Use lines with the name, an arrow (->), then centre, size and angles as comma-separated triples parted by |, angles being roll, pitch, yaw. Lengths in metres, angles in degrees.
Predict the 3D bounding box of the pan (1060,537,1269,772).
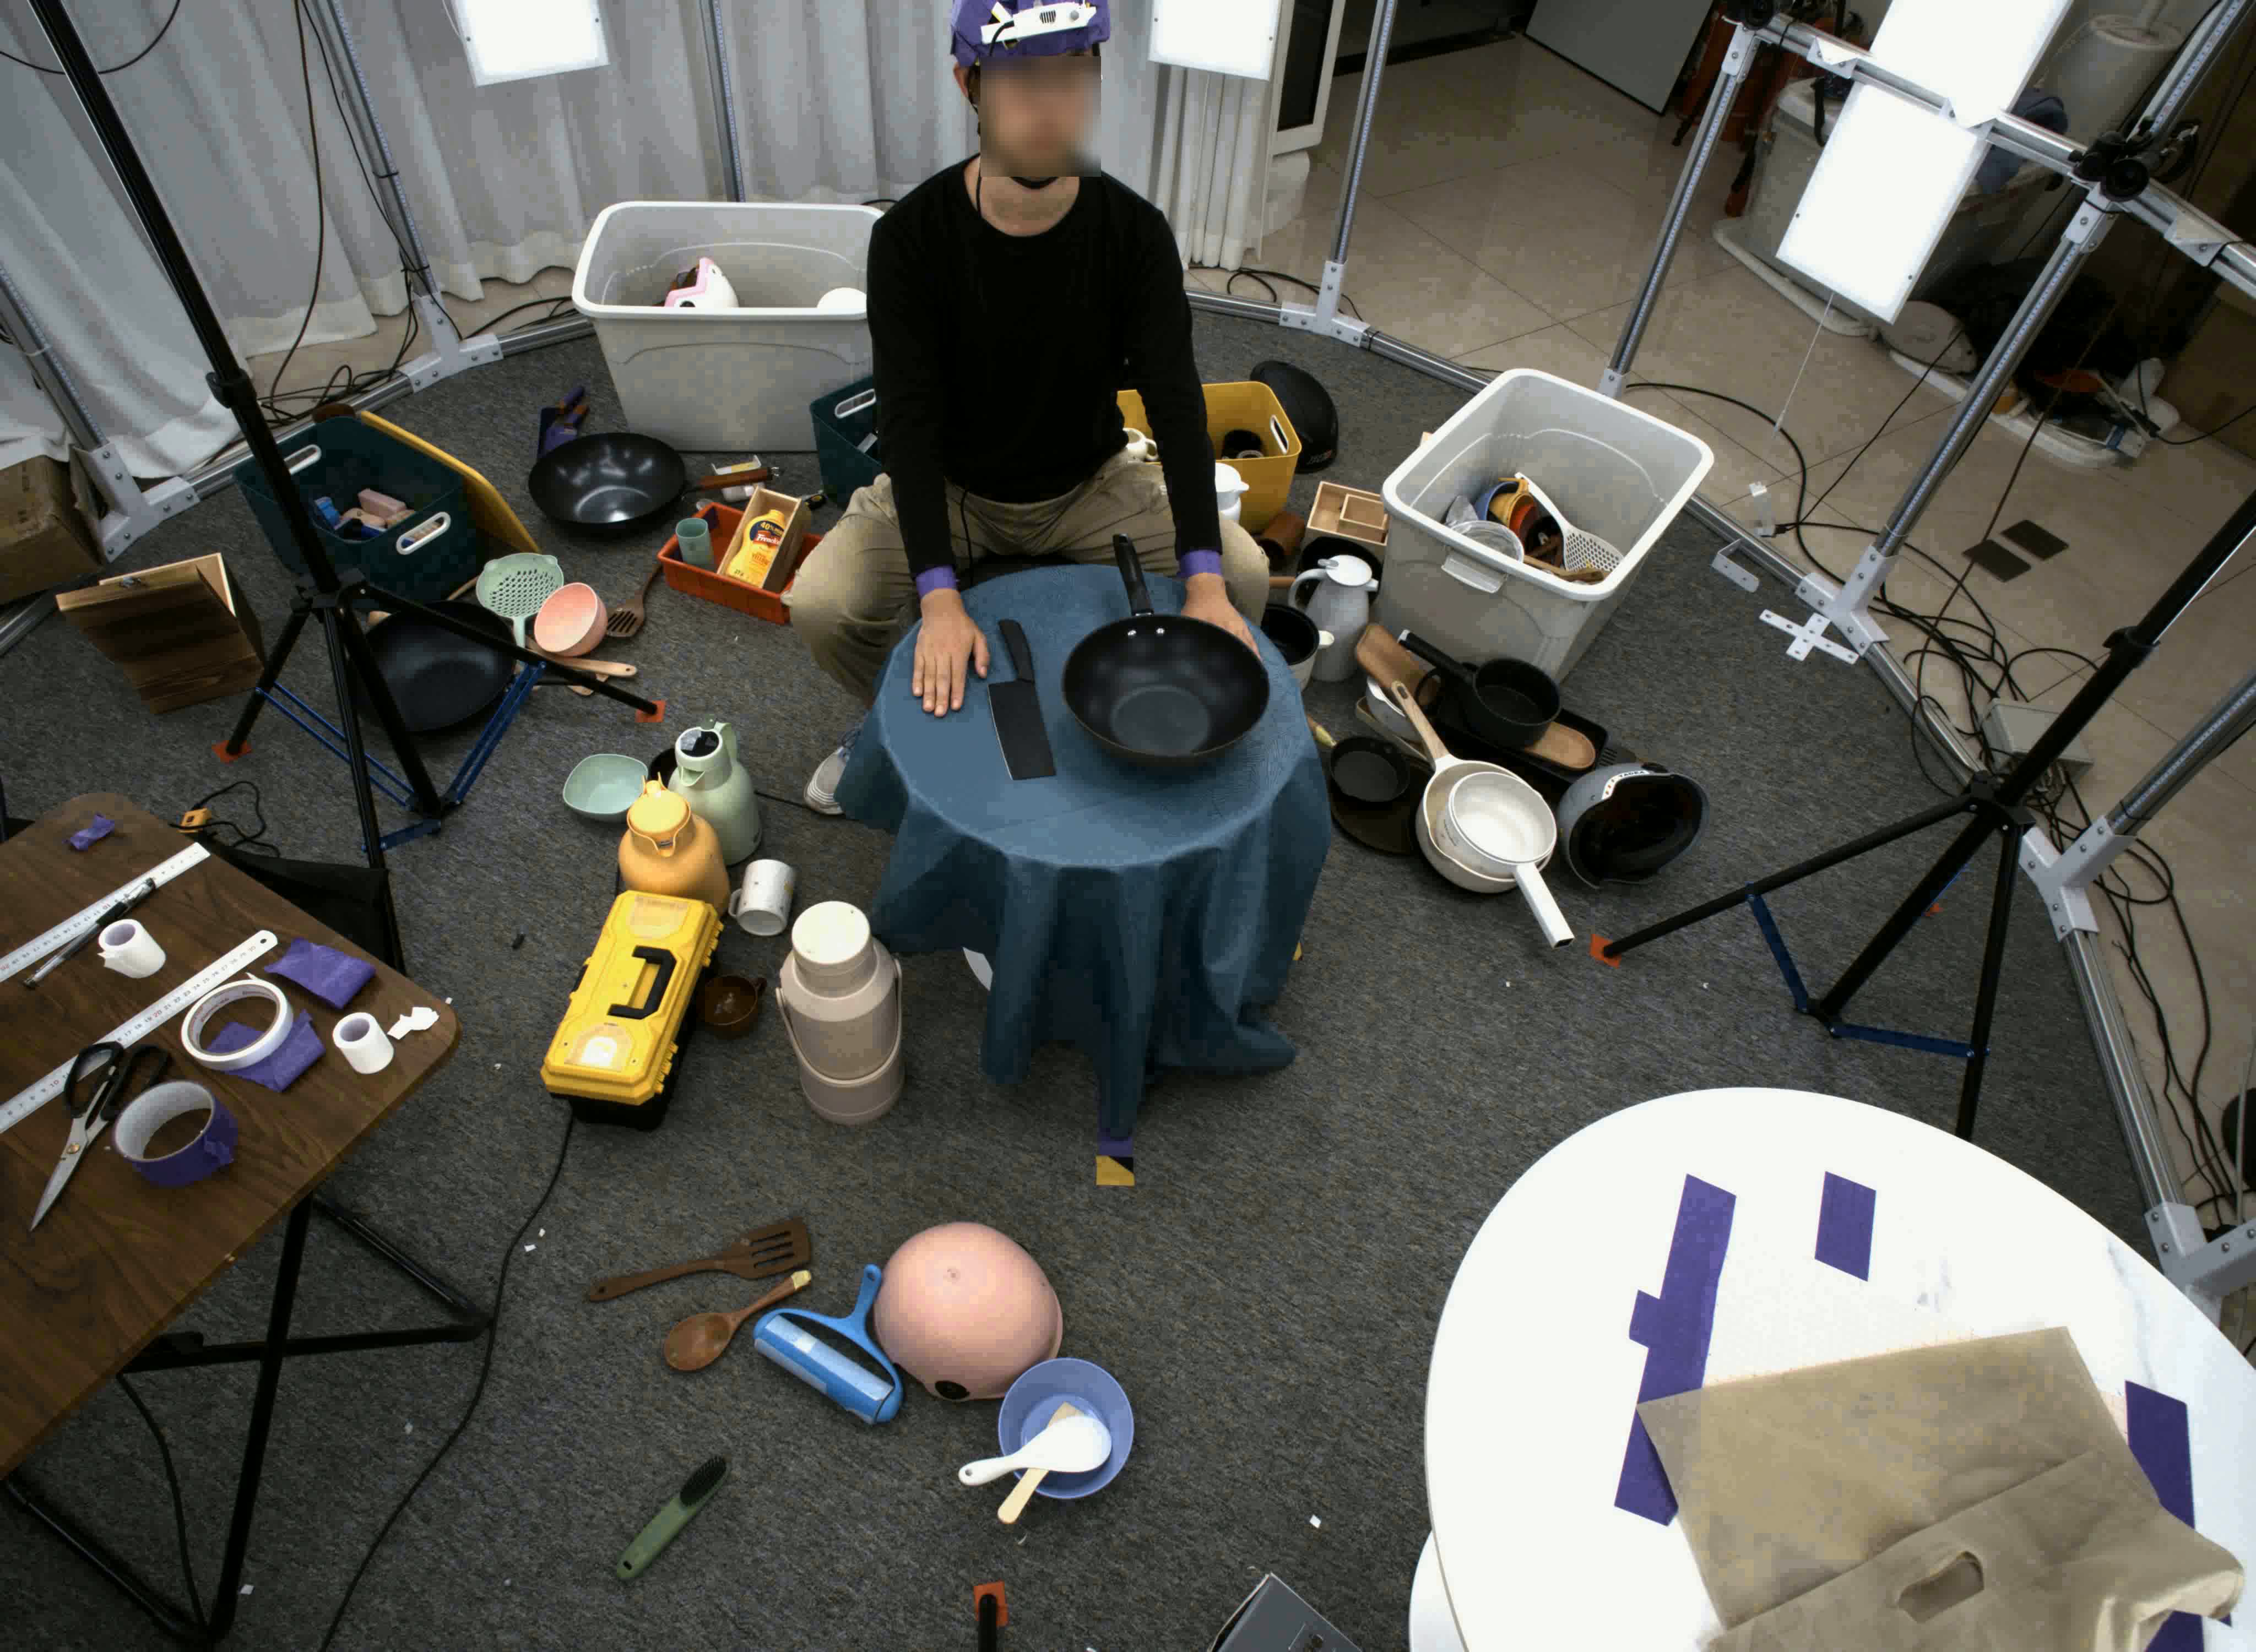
pan -> 0.032, -0.239, 1.826 | 0.288, 0.085, 0.475 | -6, 49, -9

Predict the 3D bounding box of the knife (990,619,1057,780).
knife -> -0.154, -0.182, 1.809 | 0.081, 0.020, 0.310 | -4, 51, -6
